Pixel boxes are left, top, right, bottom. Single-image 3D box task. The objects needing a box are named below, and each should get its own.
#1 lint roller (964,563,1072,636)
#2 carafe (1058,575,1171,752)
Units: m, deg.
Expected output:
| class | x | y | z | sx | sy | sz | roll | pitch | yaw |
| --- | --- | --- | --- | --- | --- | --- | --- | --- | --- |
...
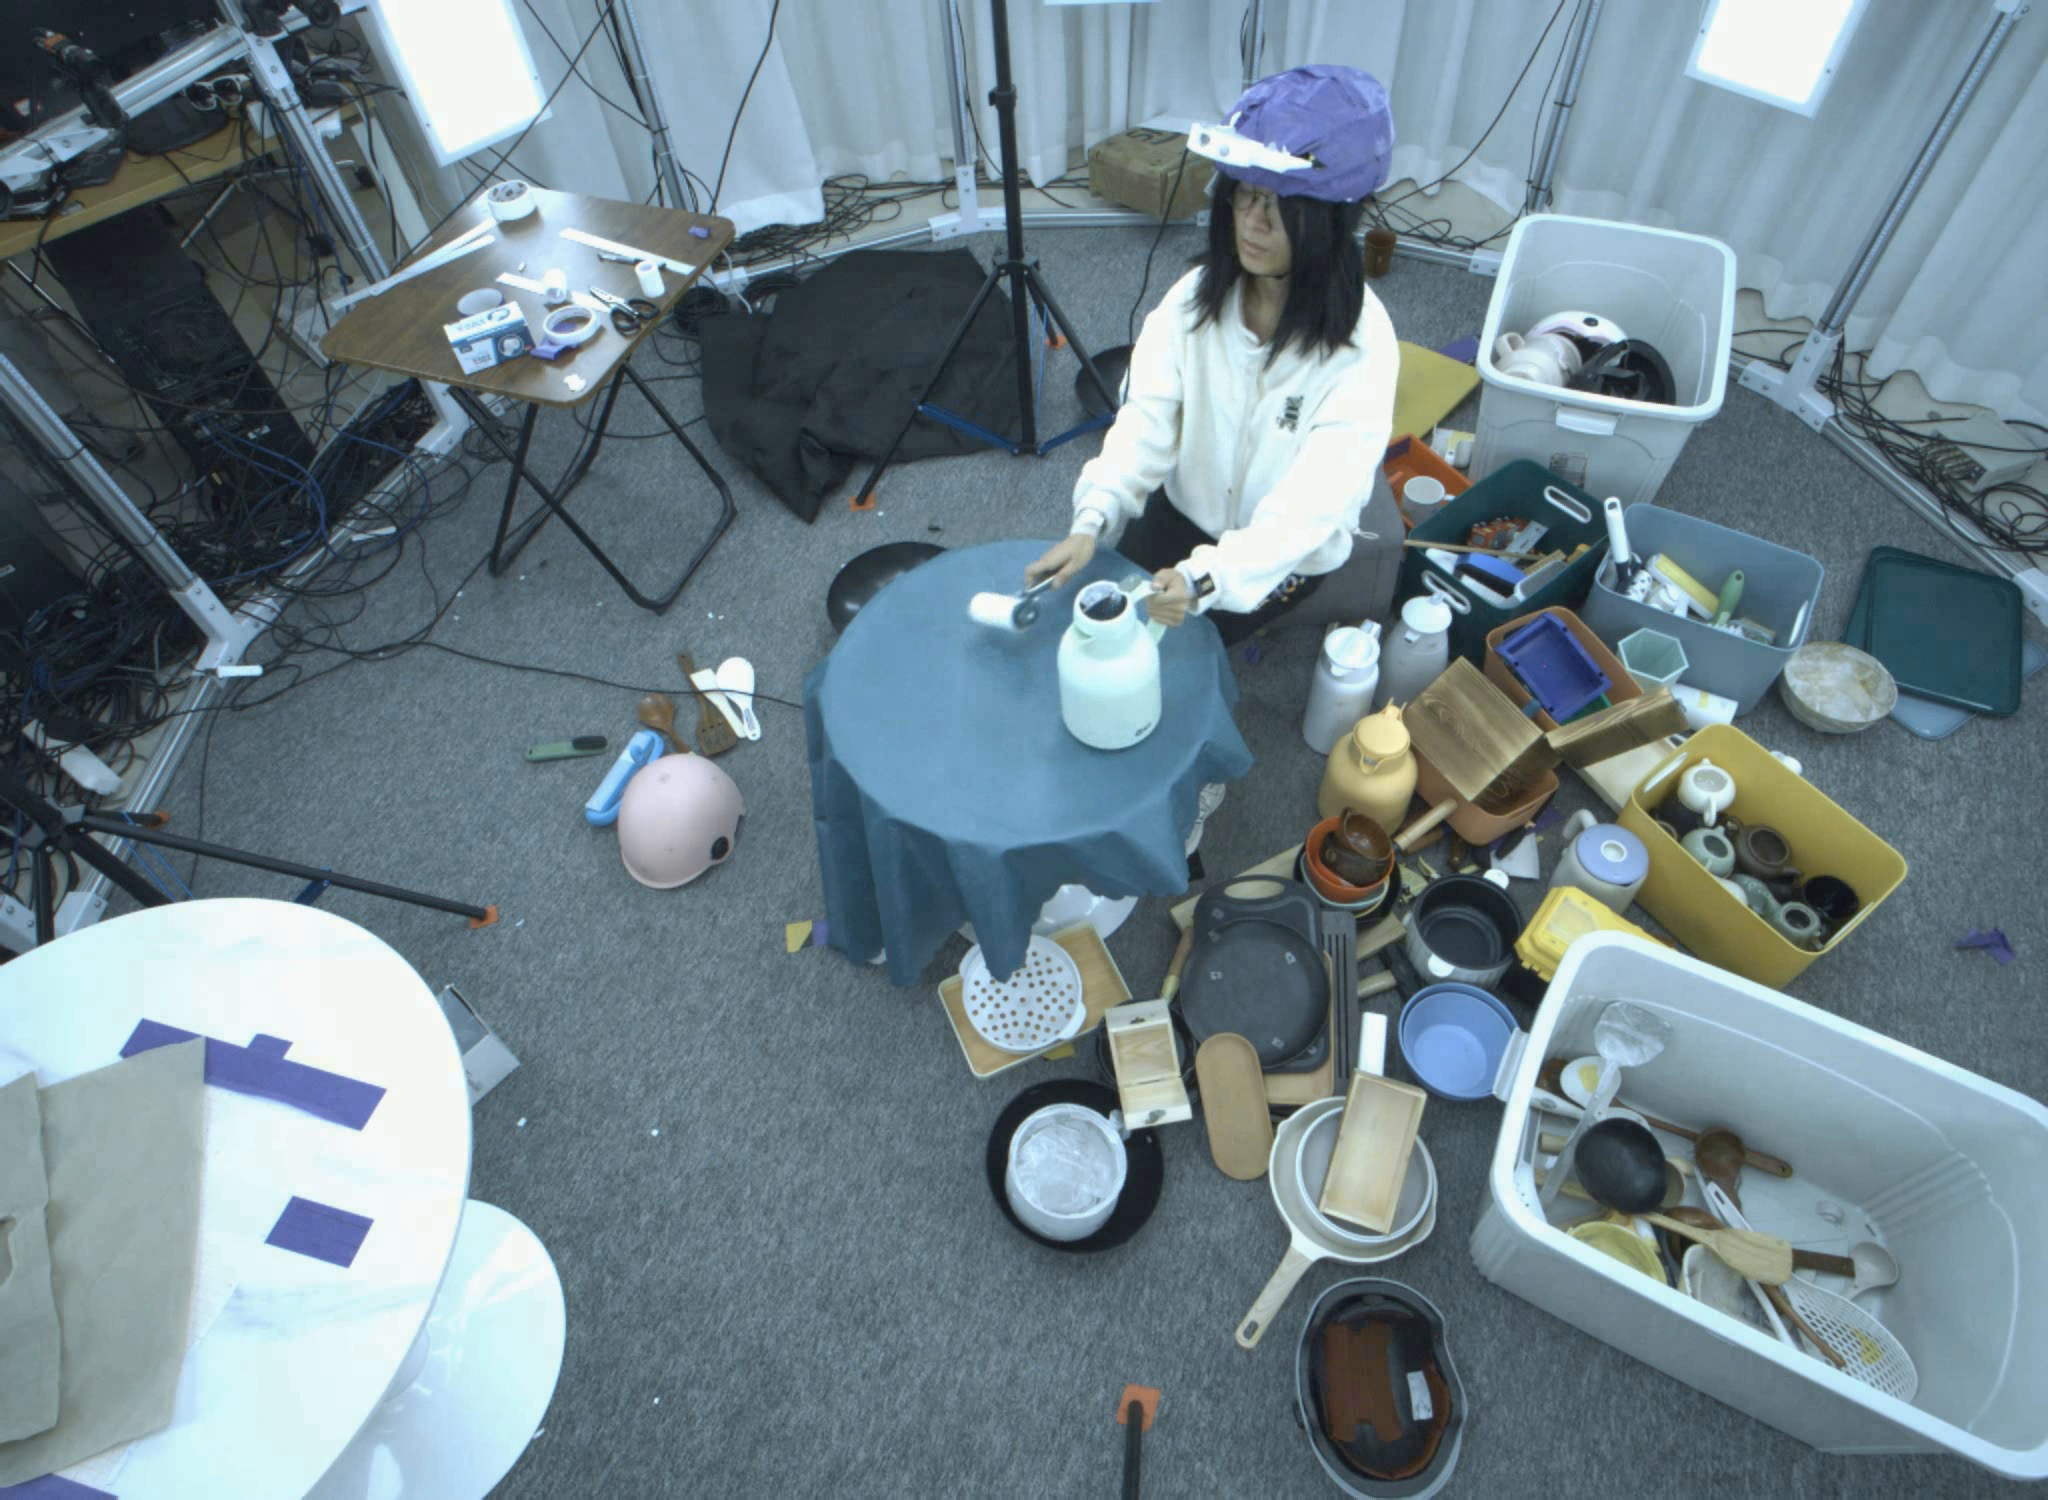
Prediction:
| class | x | y | z | sx | sy | sz | roll | pitch | yaw |
| --- | --- | --- | --- | --- | --- | --- | --- | --- | --- |
| lint roller | 0.003 | -0.247 | 1.873 | 0.181 | 0.049 | 0.131 | -44 | 39 | -20 |
| carafe | 0.128 | -0.128 | 1.717 | 0.188 | 0.260 | 0.141 | -36 | 59 | -21 |
